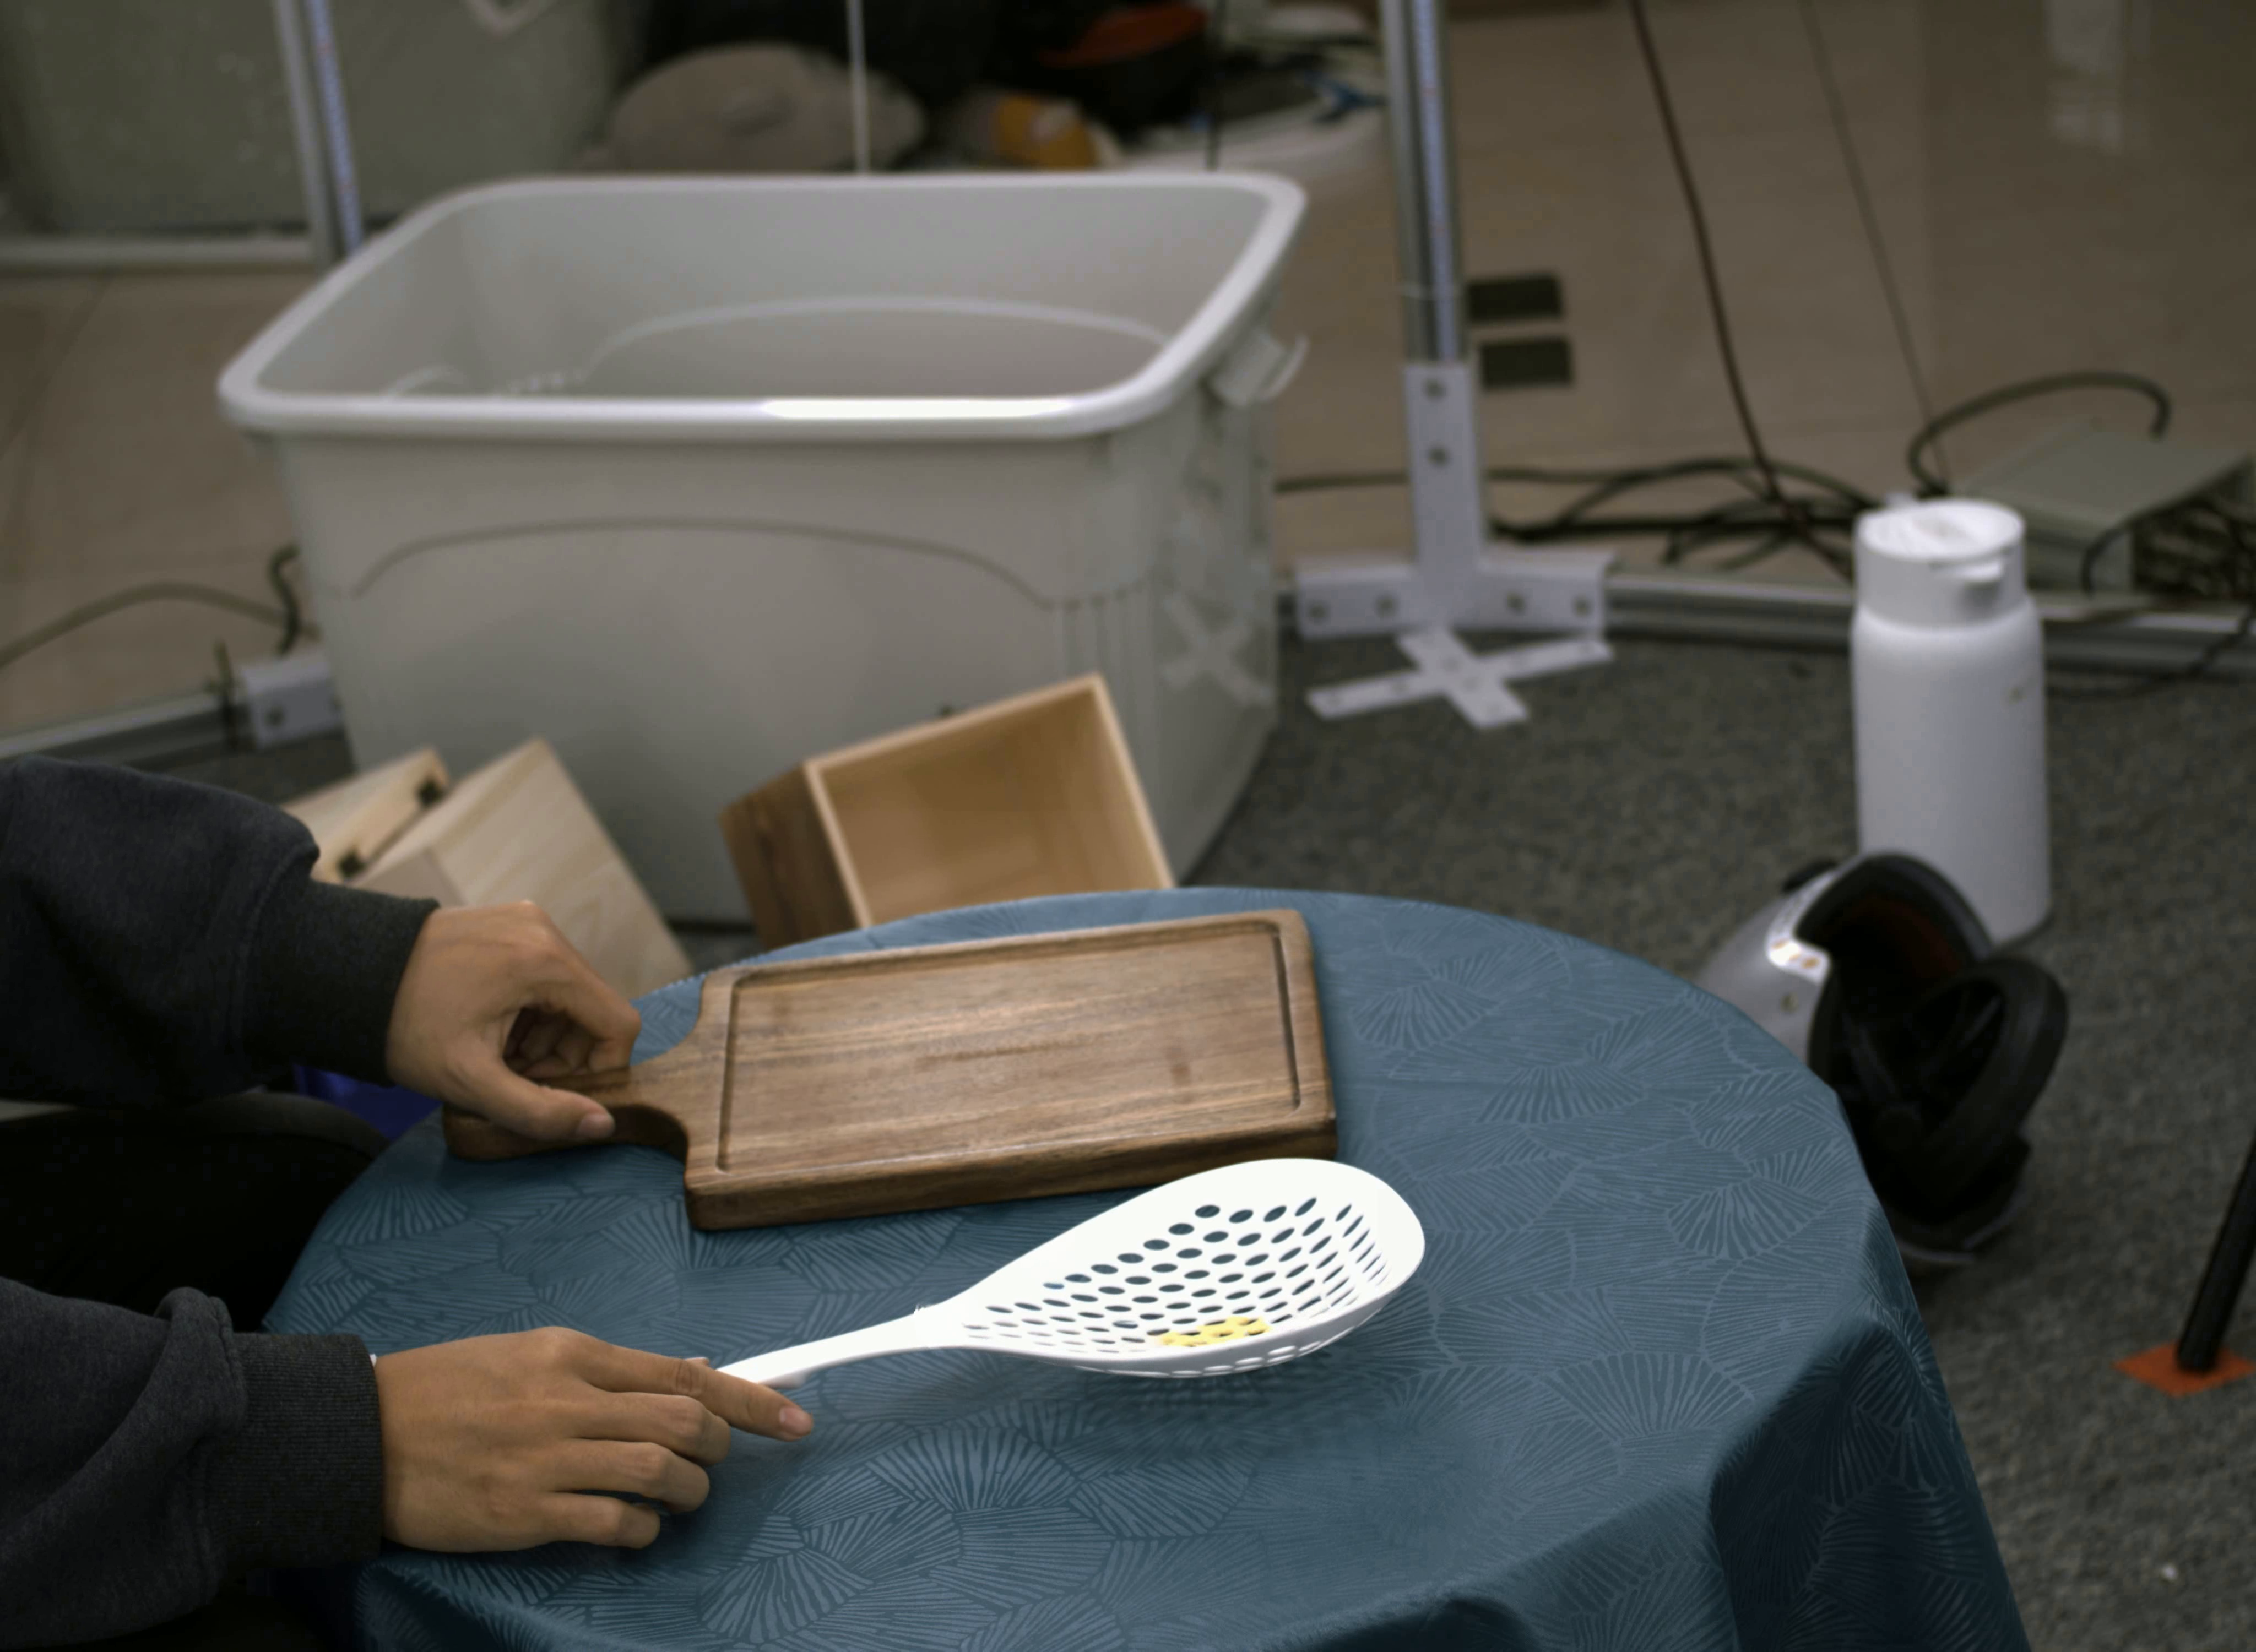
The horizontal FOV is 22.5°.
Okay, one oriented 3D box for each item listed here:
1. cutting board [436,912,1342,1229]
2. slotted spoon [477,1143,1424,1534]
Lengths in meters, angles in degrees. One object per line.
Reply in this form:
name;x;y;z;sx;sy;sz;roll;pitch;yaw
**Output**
cutting board;-0.097;0.099;2.233;0.351;0.023;0.198;-6;24;1
slotted spoon;-0.064;0.187;2.009;0.347;0.051;0.135;-11;24;-10
